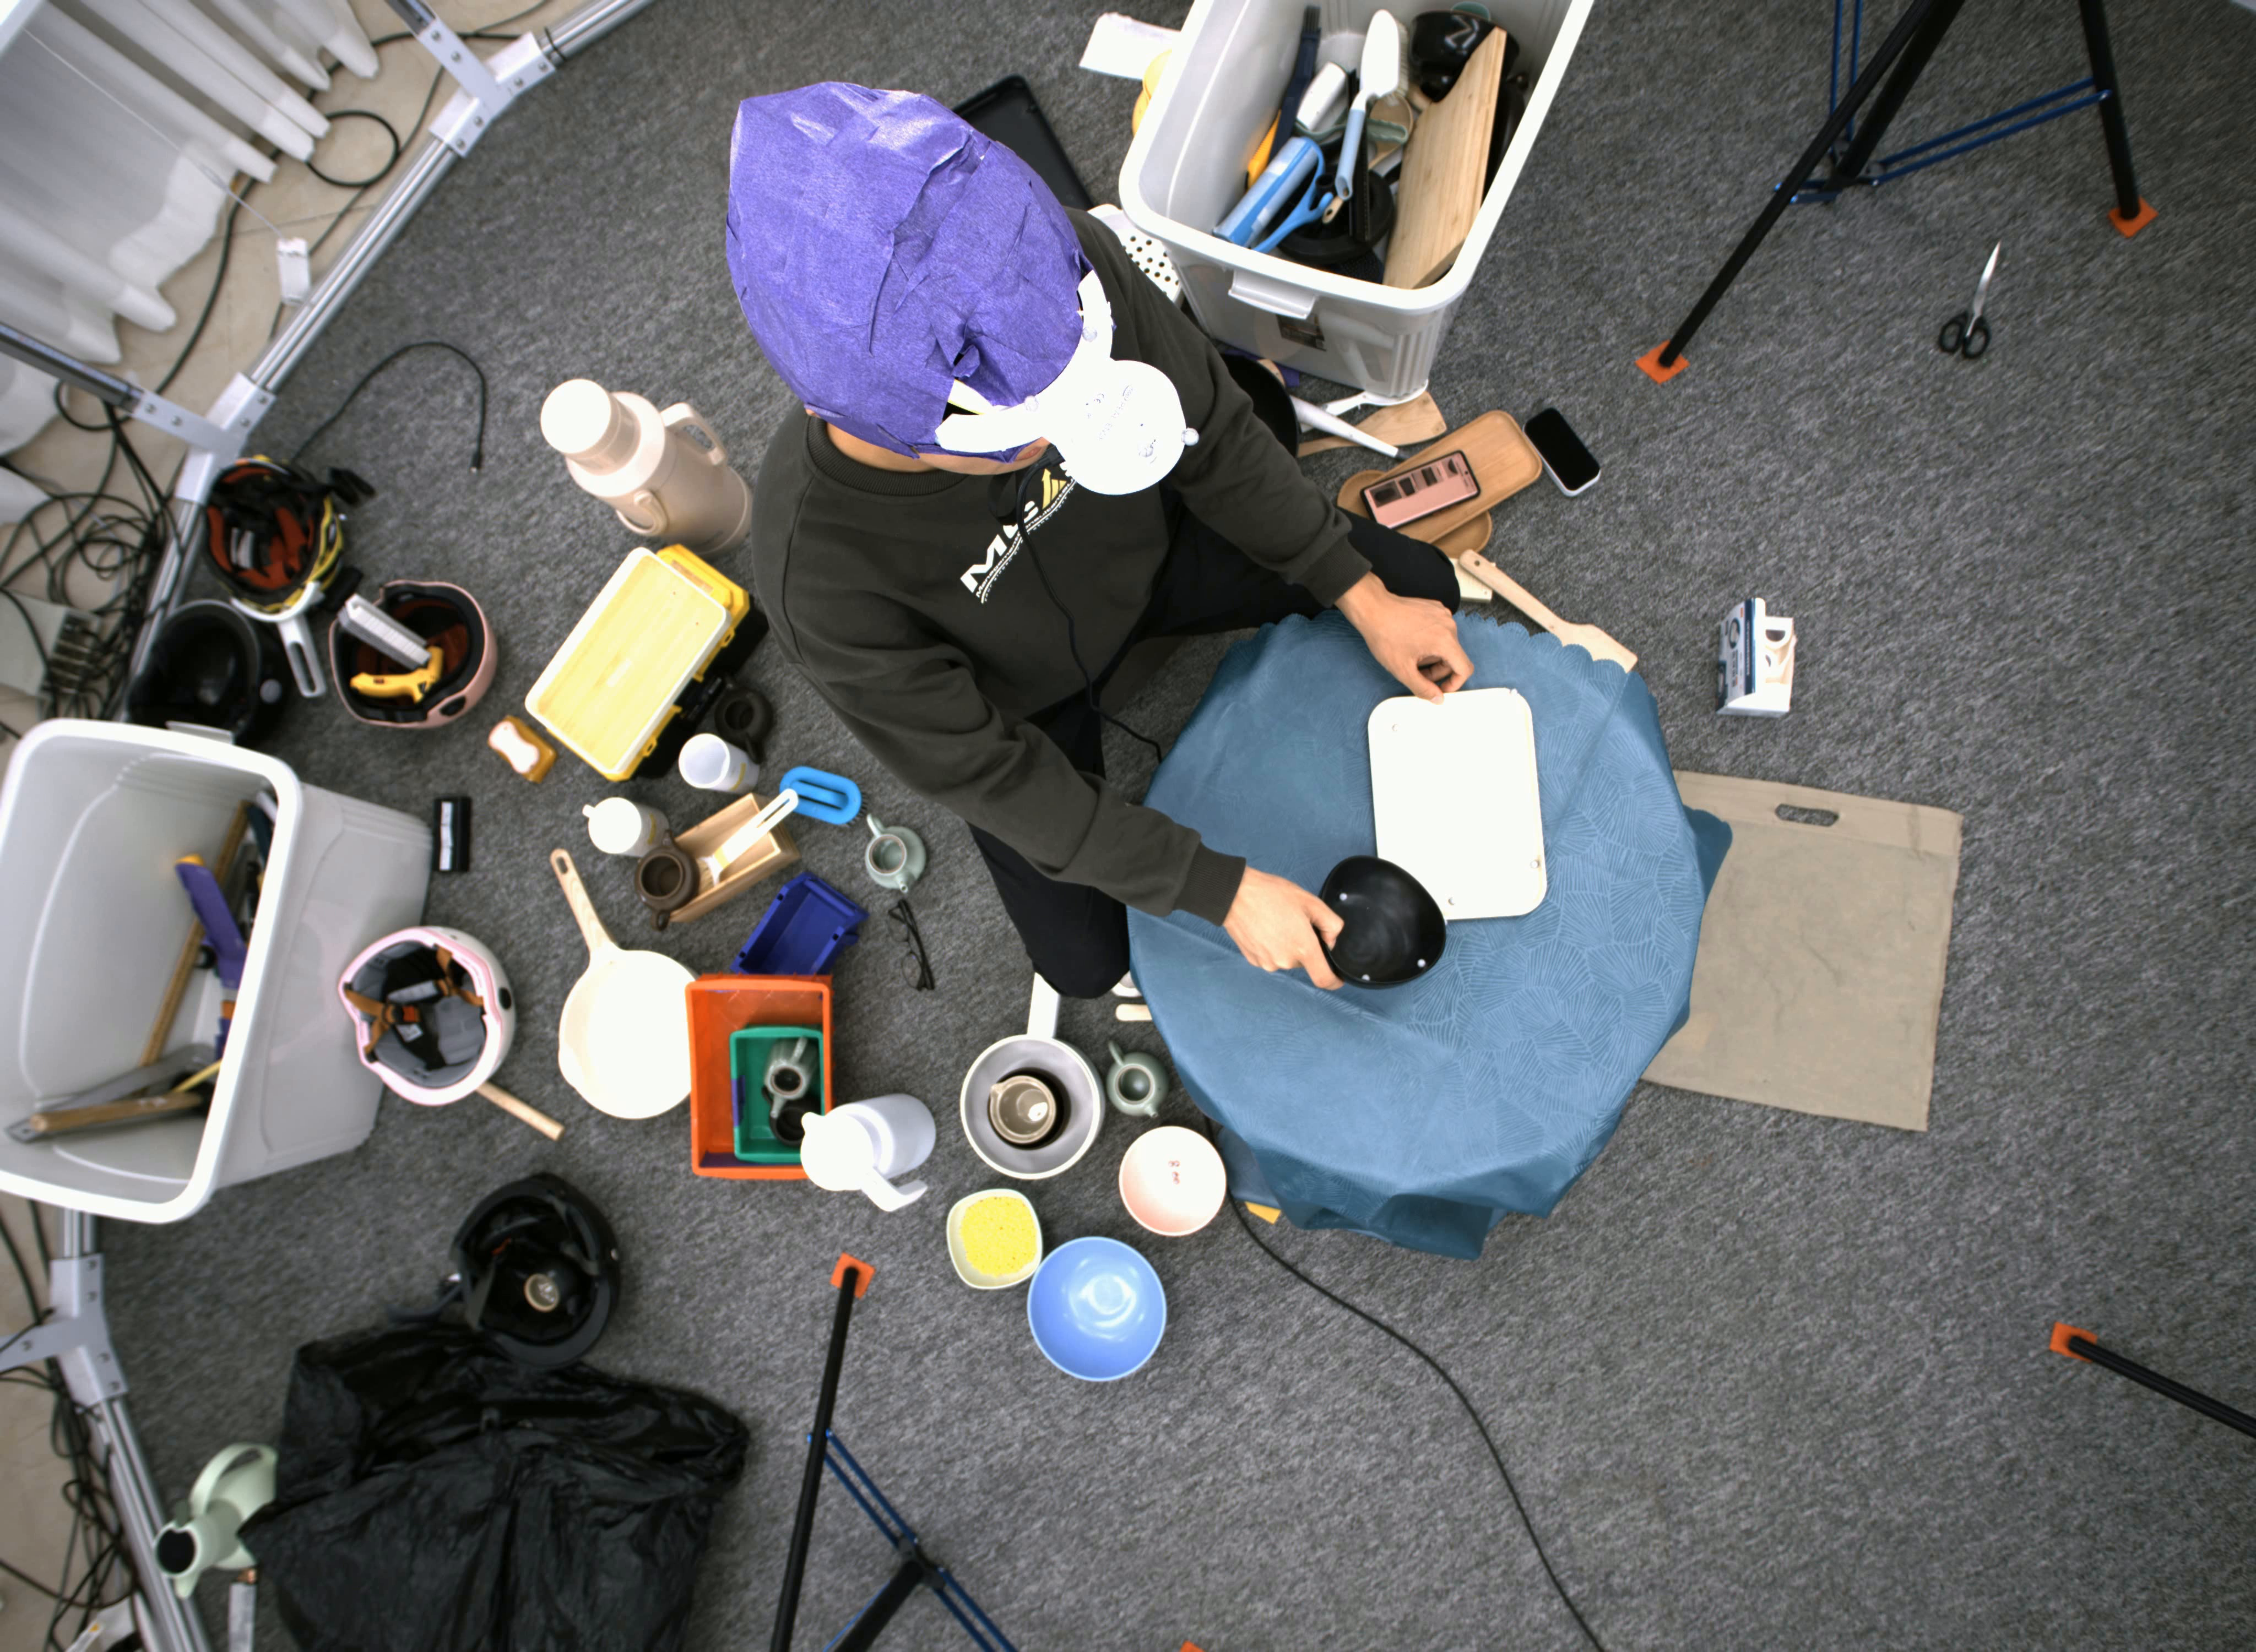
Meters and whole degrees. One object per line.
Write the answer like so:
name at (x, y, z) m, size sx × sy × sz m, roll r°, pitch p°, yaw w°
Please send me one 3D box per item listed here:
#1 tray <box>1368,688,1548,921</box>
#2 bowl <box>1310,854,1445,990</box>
tray at (0.345, -0.024, 1.443) m, size 0.172 × 0.017 × 0.238 m, roll -4°, pitch 86°, yaw 11°
bowl at (0.242, 0.107, 1.393) m, size 0.137 × 0.166 × 0.068 m, roll 37°, pitch 138°, yaw 6°
